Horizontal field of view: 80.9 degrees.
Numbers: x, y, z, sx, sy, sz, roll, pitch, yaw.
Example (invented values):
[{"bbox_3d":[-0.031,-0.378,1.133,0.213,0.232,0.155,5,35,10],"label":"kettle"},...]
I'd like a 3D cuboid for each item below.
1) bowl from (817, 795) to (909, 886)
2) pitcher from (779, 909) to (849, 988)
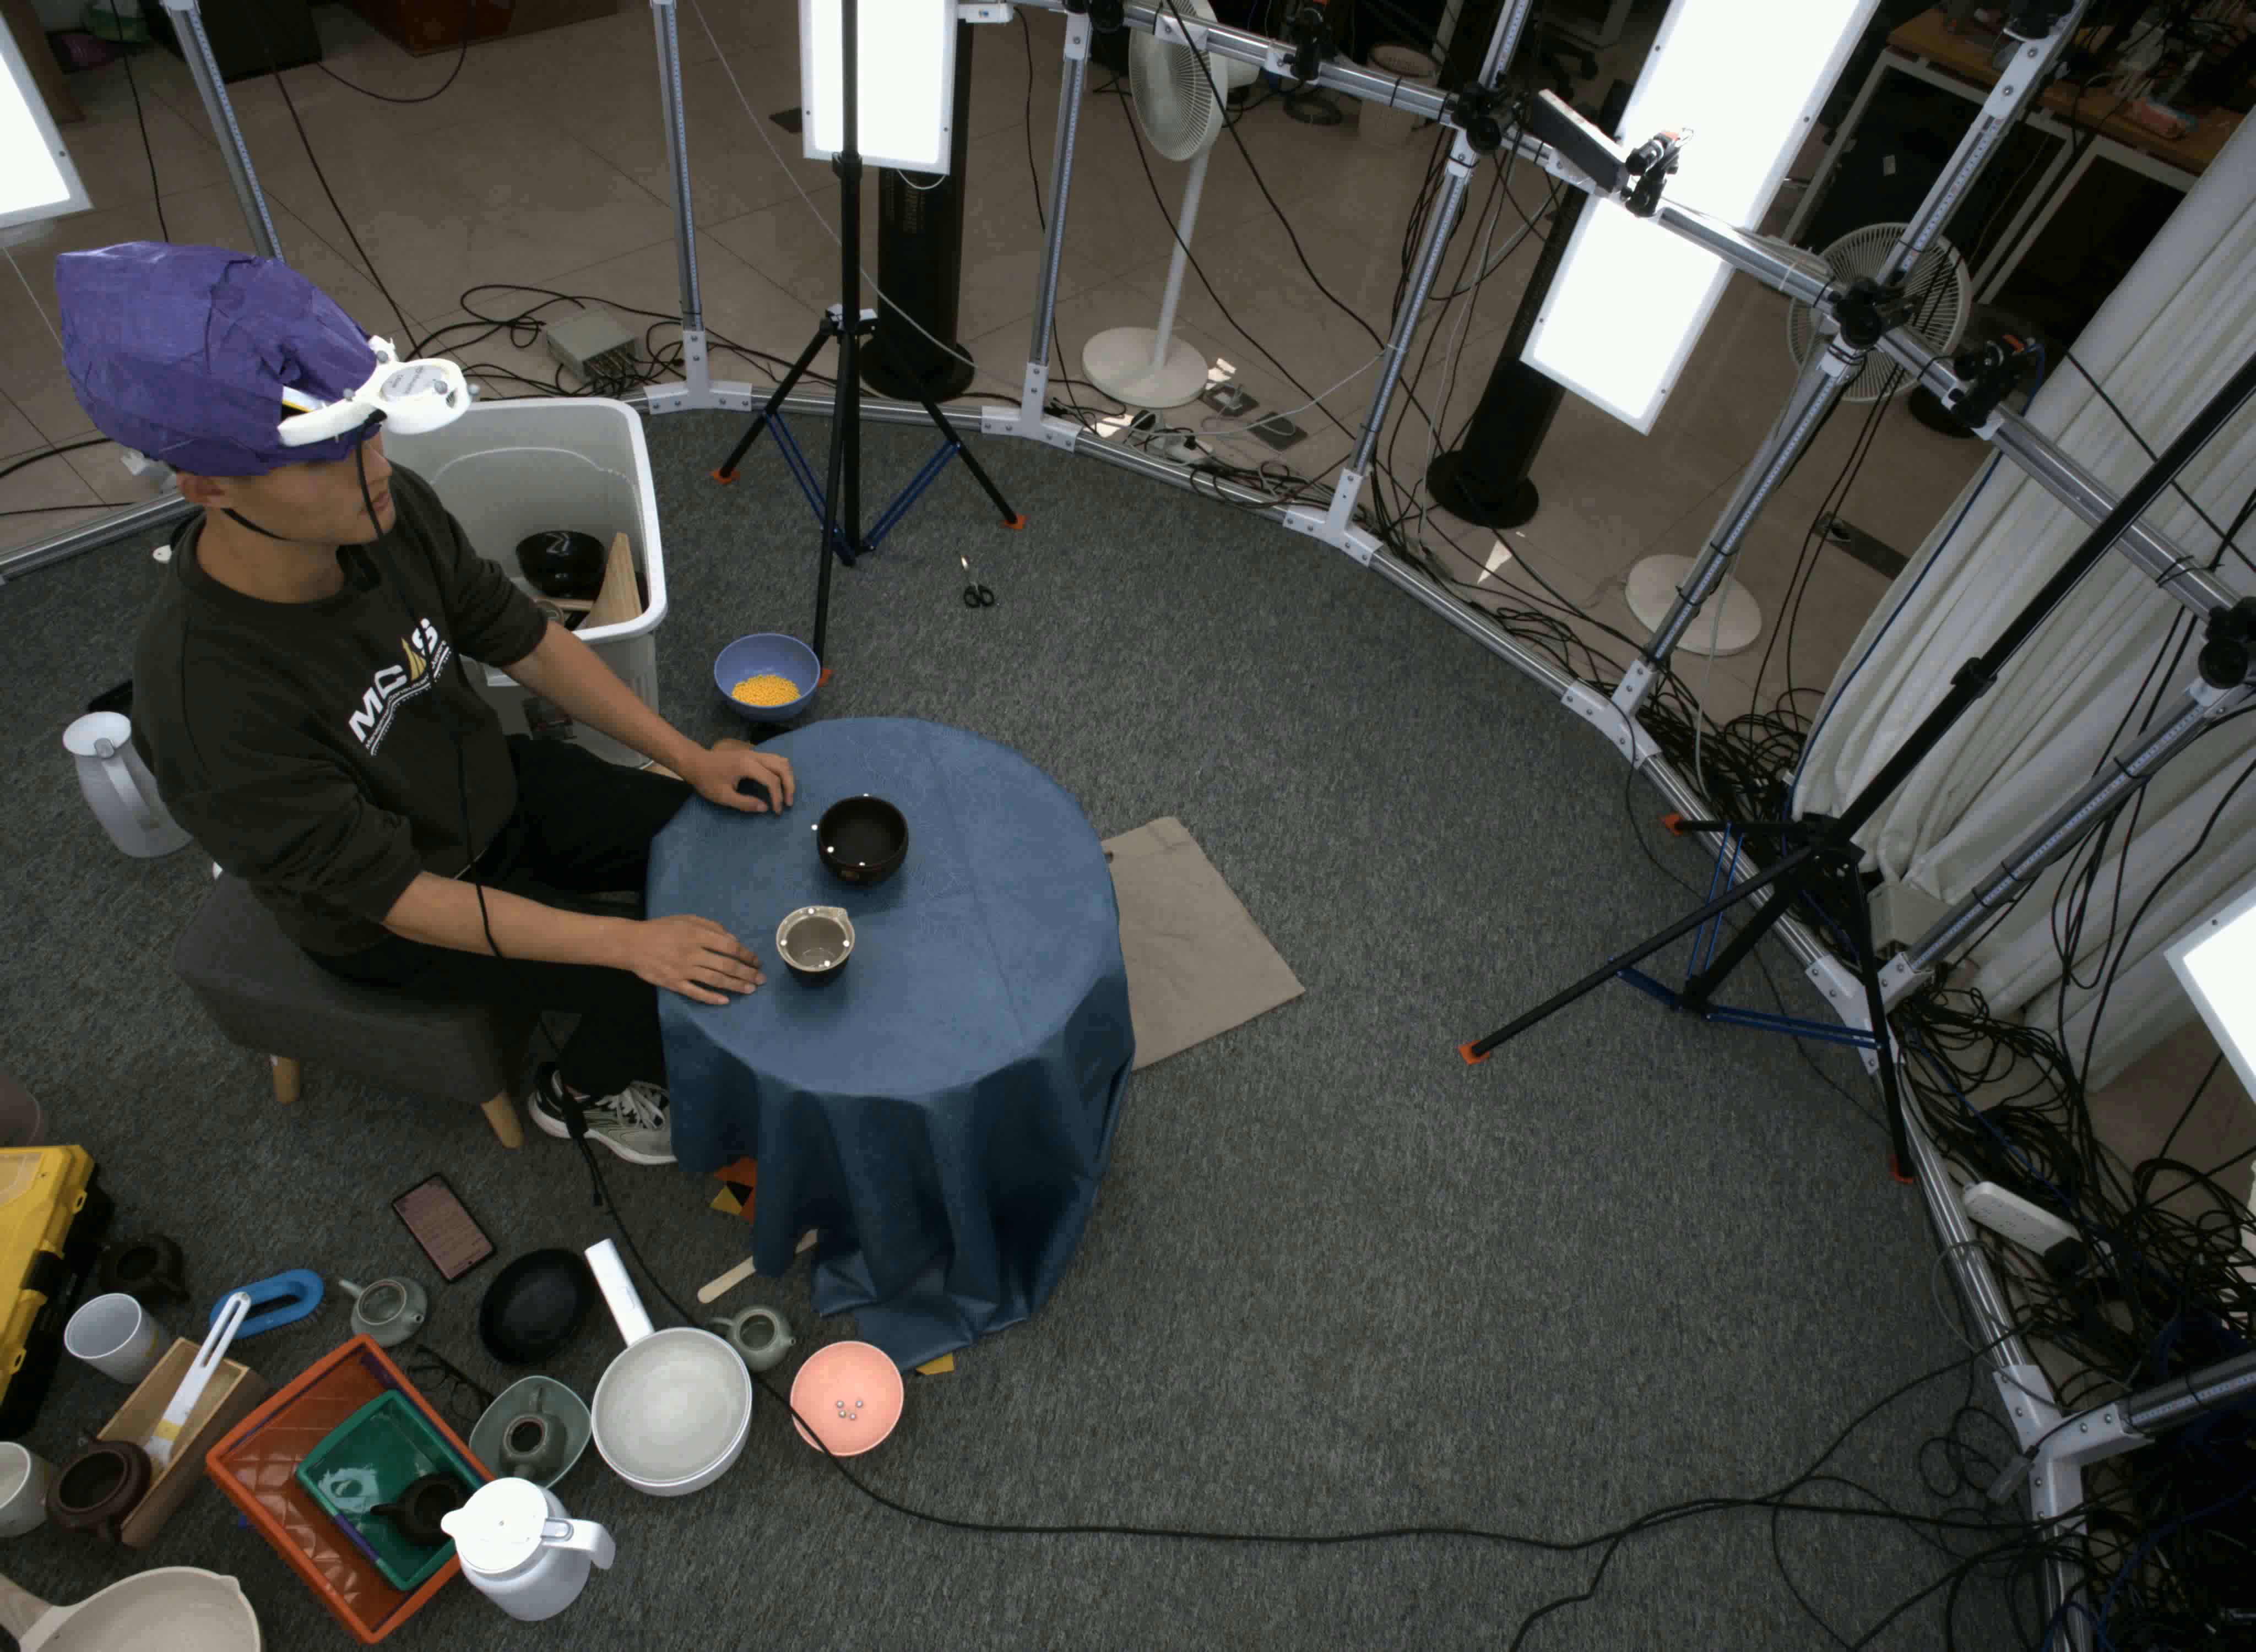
[{"bbox_3d":[-0.344,0.026,1.689,0.118,0.071,0.116,8,53,-9],"label":"bowl"},{"bbox_3d":[-0.378,0.151,1.585,0.082,0.073,0.096,34,54,16],"label":"pitcher"}]
